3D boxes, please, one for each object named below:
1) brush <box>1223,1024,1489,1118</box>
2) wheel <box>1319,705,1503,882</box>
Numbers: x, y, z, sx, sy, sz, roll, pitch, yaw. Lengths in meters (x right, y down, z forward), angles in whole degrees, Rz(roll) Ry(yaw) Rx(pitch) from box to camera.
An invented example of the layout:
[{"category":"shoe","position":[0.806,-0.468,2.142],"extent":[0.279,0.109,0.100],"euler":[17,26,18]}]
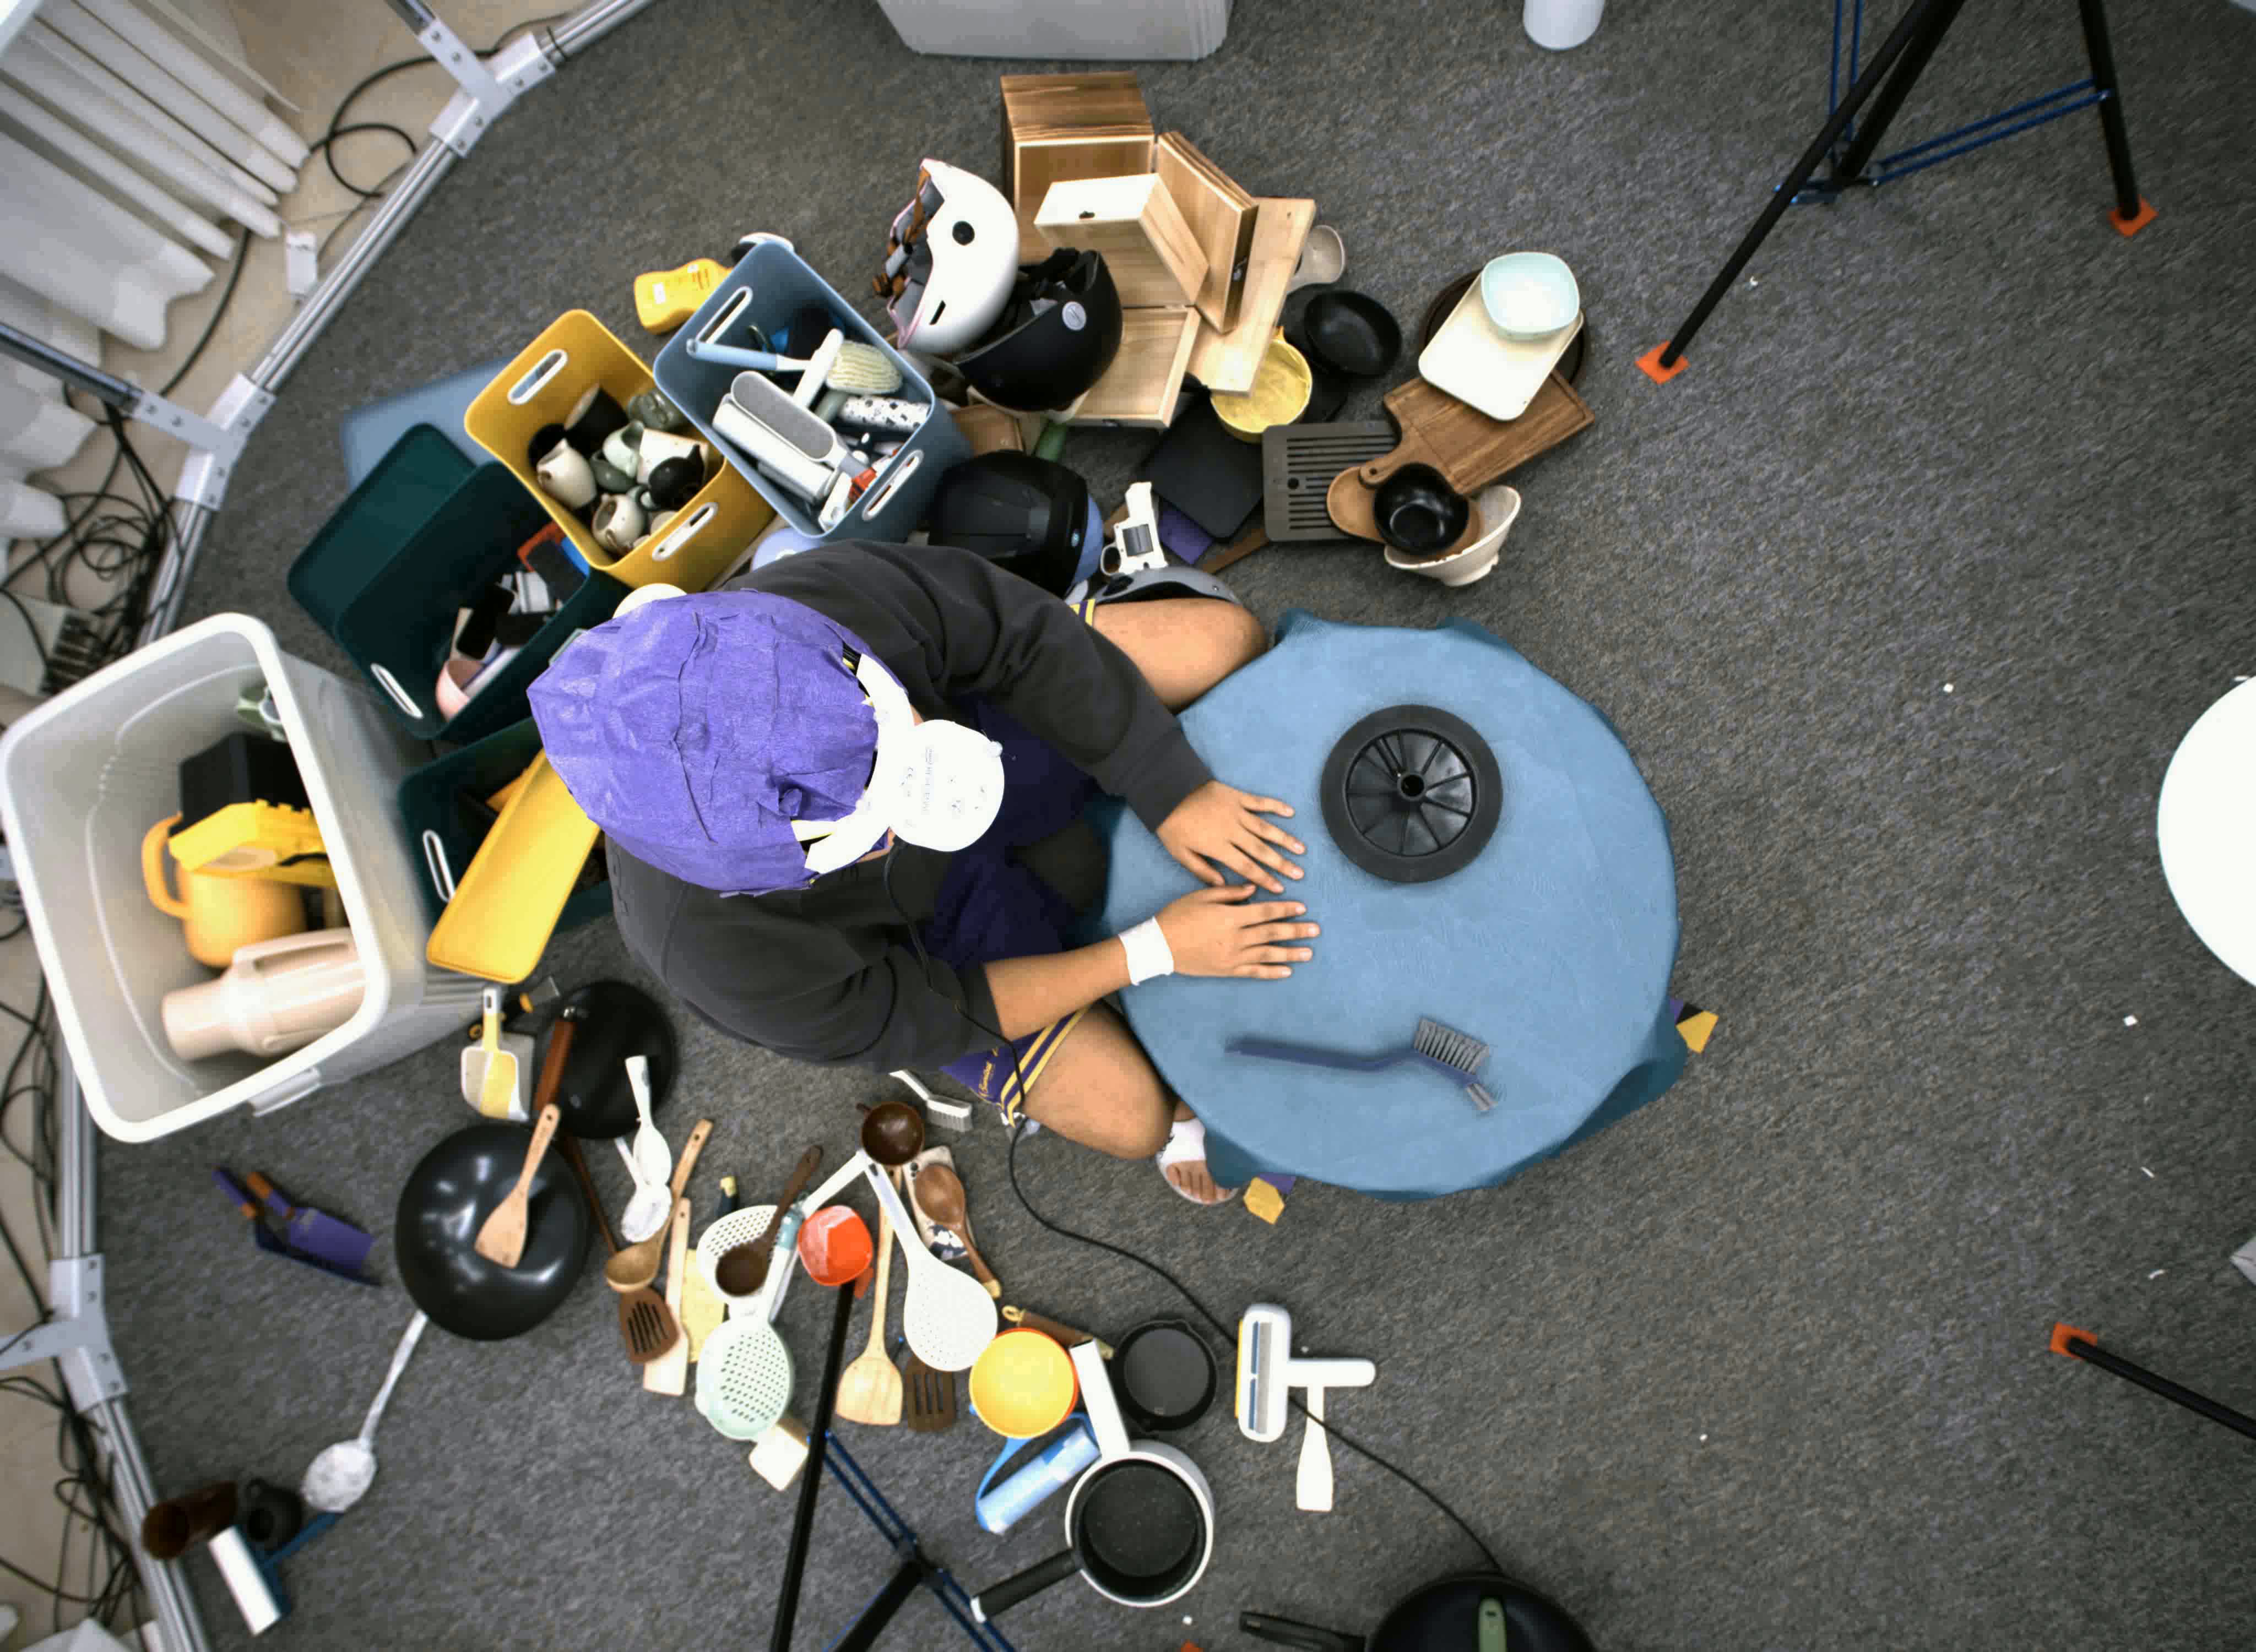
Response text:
[{"category":"brush","position":[0.236,0.253,1.439],"extent":[0.274,0.033,0.095],"euler":[-1,87,9]},{"category":"wheel","position":[0.292,-0.038,1.422],"extent":[0.189,0.079,0.188],"euler":[37,94,11]}]
